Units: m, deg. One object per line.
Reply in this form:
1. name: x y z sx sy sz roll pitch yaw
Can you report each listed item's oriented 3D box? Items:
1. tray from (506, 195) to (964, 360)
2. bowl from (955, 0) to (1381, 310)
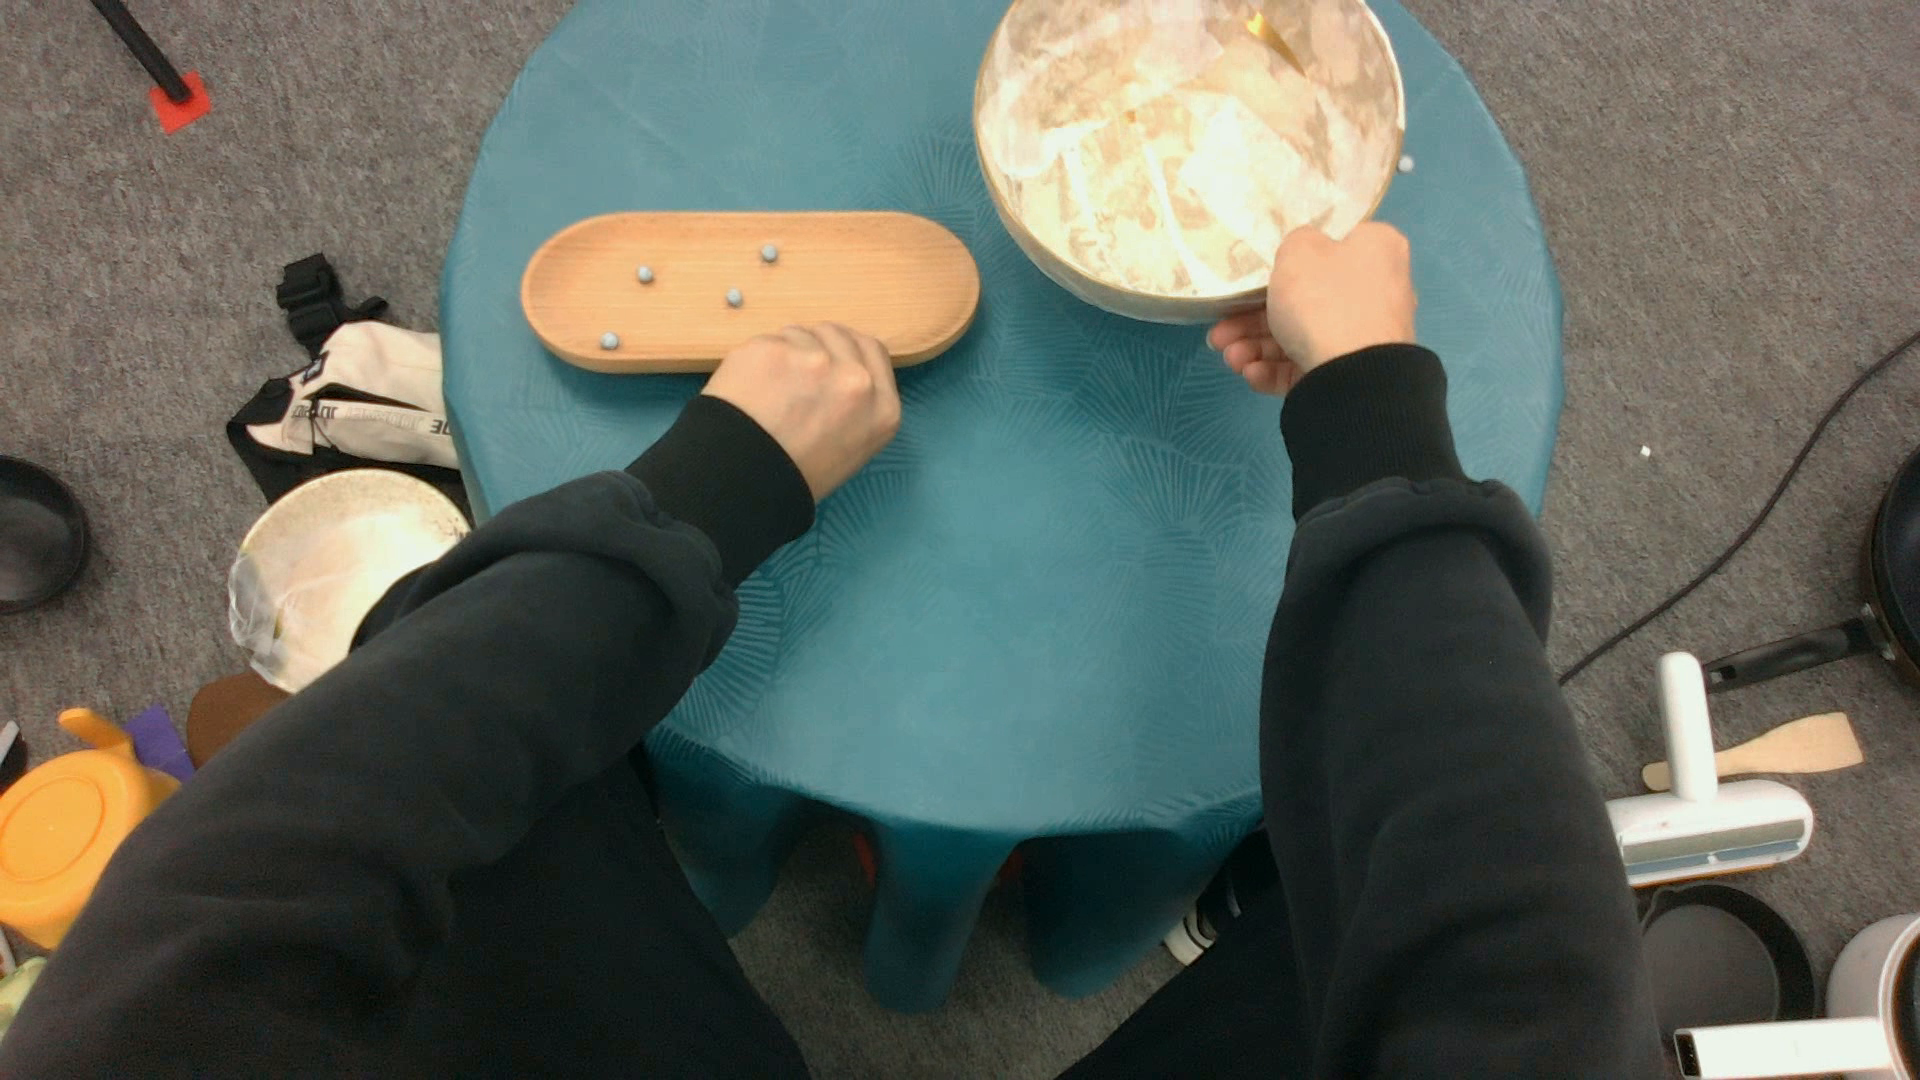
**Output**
1. tray: -0.113 -0.136 0.708 0.231 0.020 0.102 -2 59 -7
2. bowl: 0.095 -0.198 0.695 0.215 0.094 0.215 0 74 -1
